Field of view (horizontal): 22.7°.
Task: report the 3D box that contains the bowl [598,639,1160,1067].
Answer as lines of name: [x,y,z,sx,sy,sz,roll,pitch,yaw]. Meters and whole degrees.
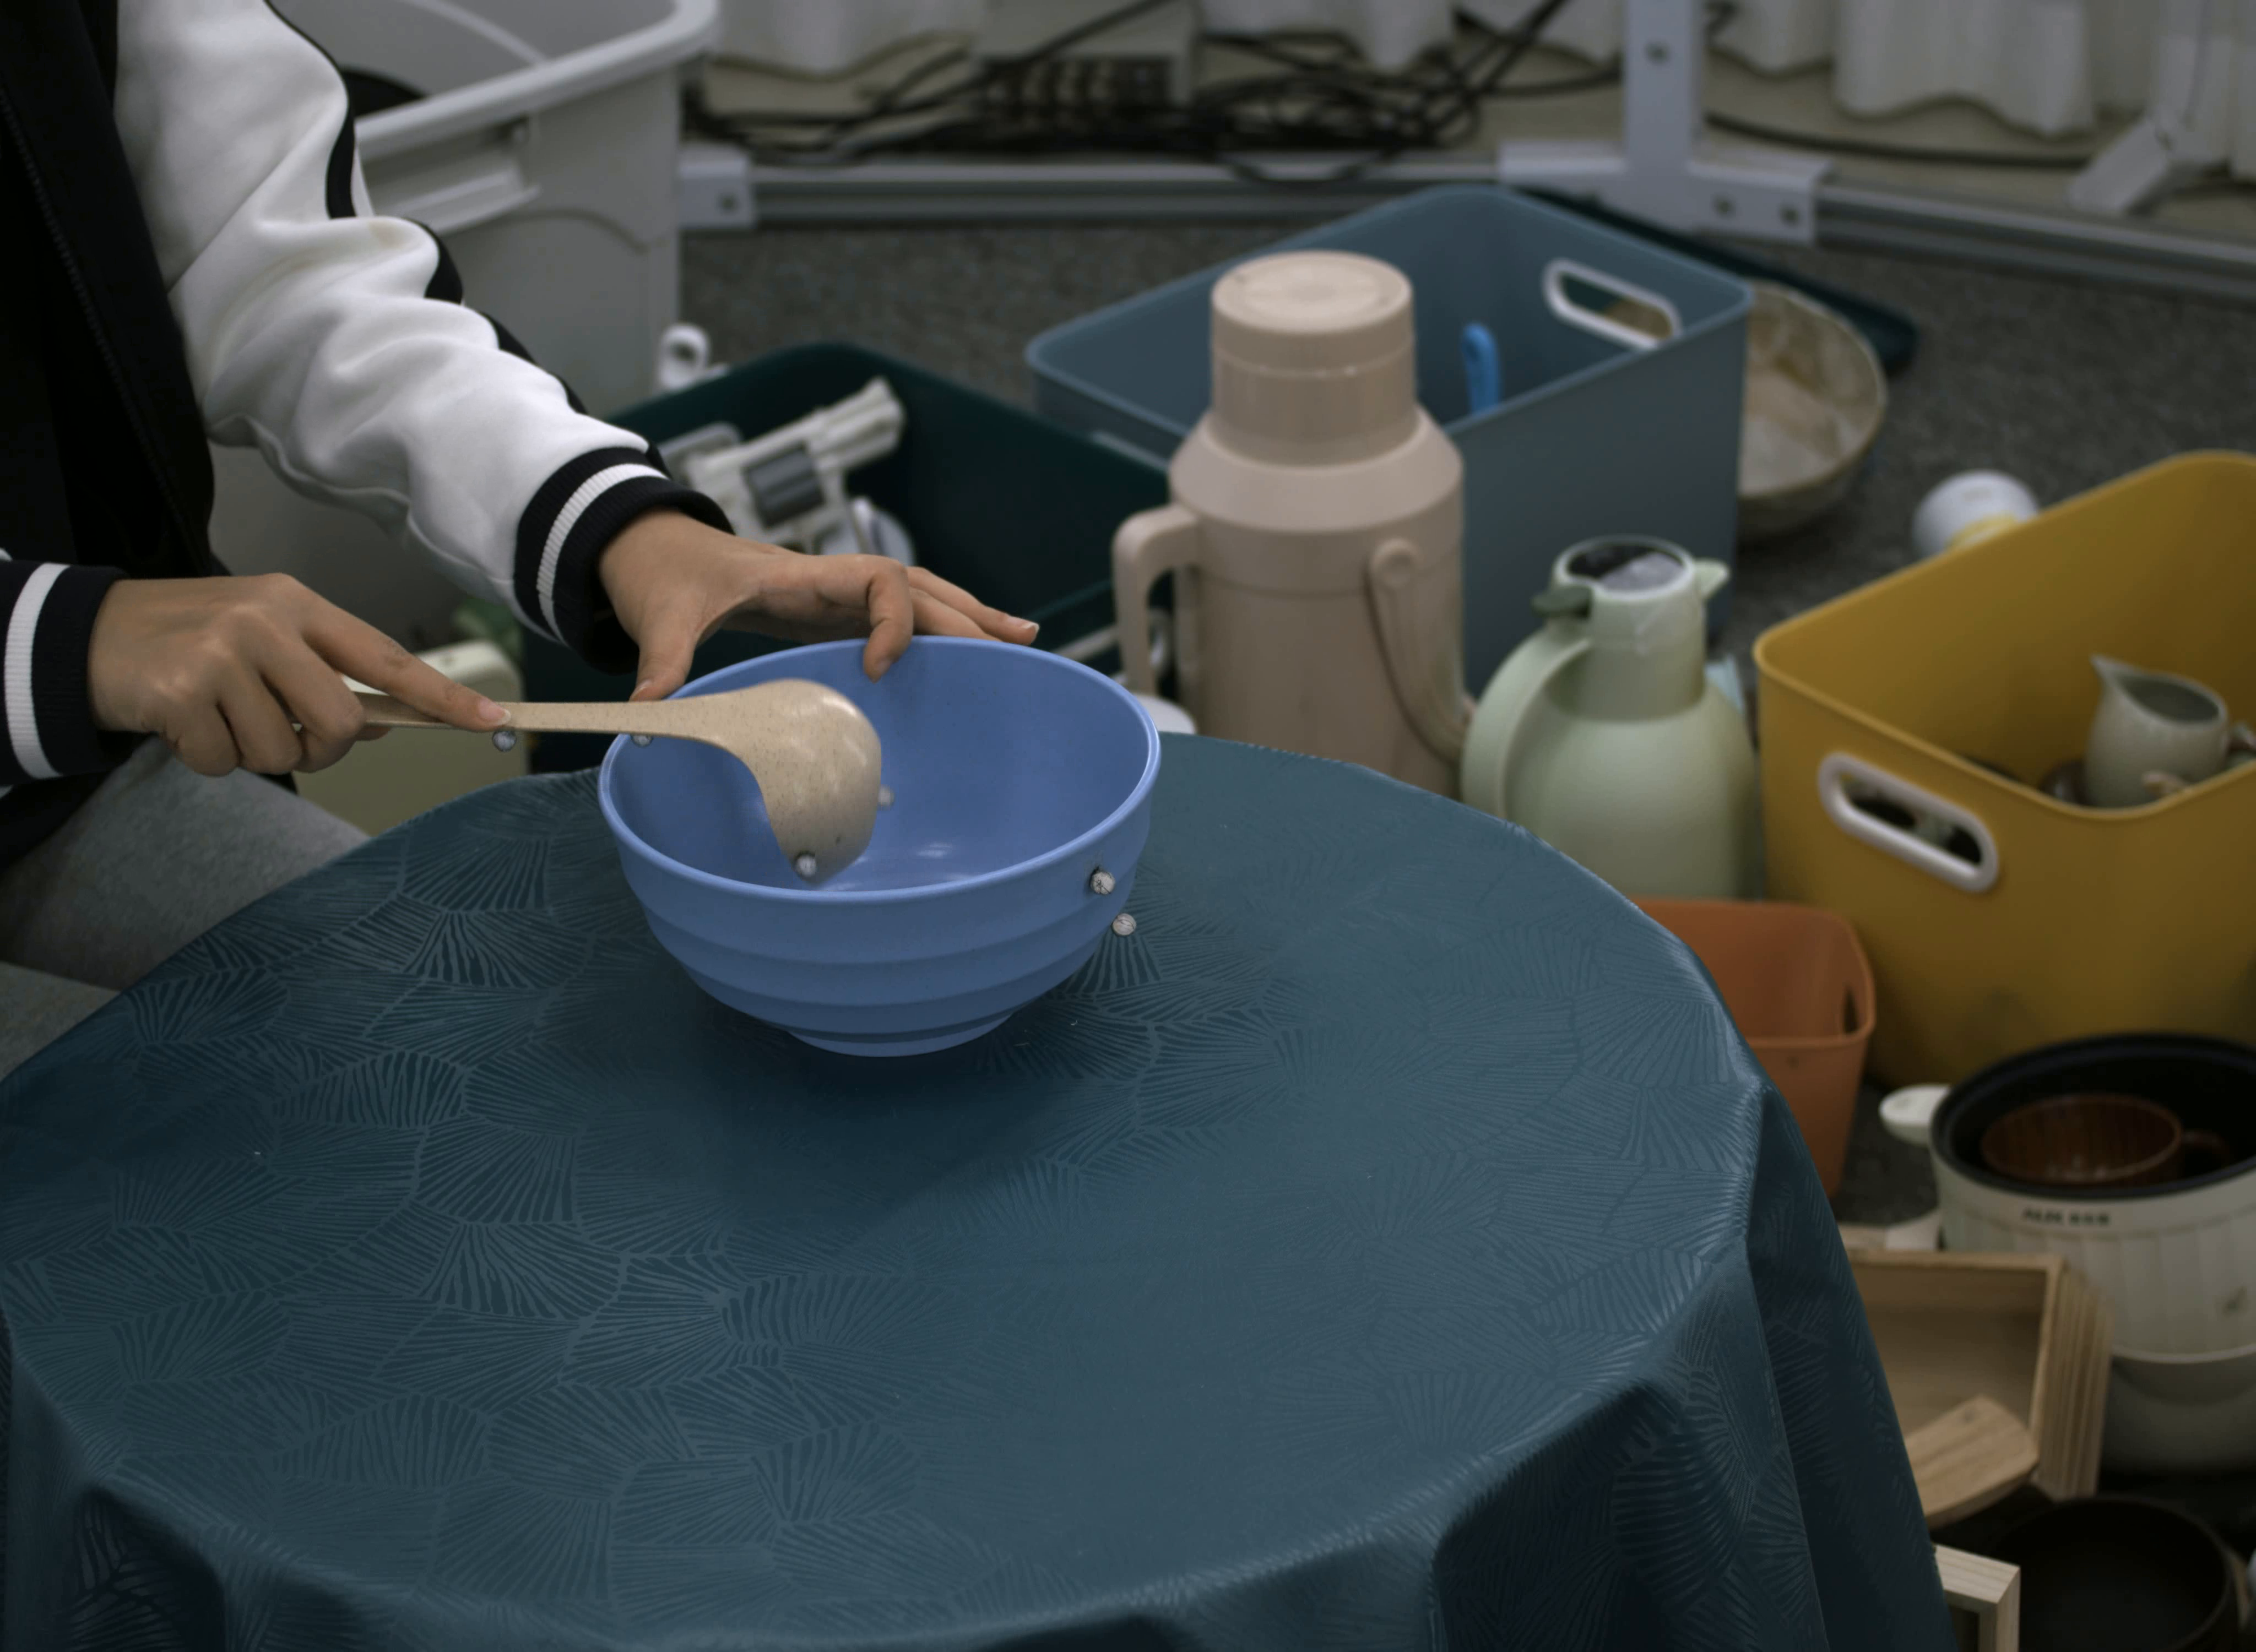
bowl: [-0.083,0.021,1.969,0.195,0.094,0.199,-3,28,2]

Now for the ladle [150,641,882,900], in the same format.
ladle: [-0.213,-0.021,1.958,0.253,0.071,0.073,6,47,-6]
